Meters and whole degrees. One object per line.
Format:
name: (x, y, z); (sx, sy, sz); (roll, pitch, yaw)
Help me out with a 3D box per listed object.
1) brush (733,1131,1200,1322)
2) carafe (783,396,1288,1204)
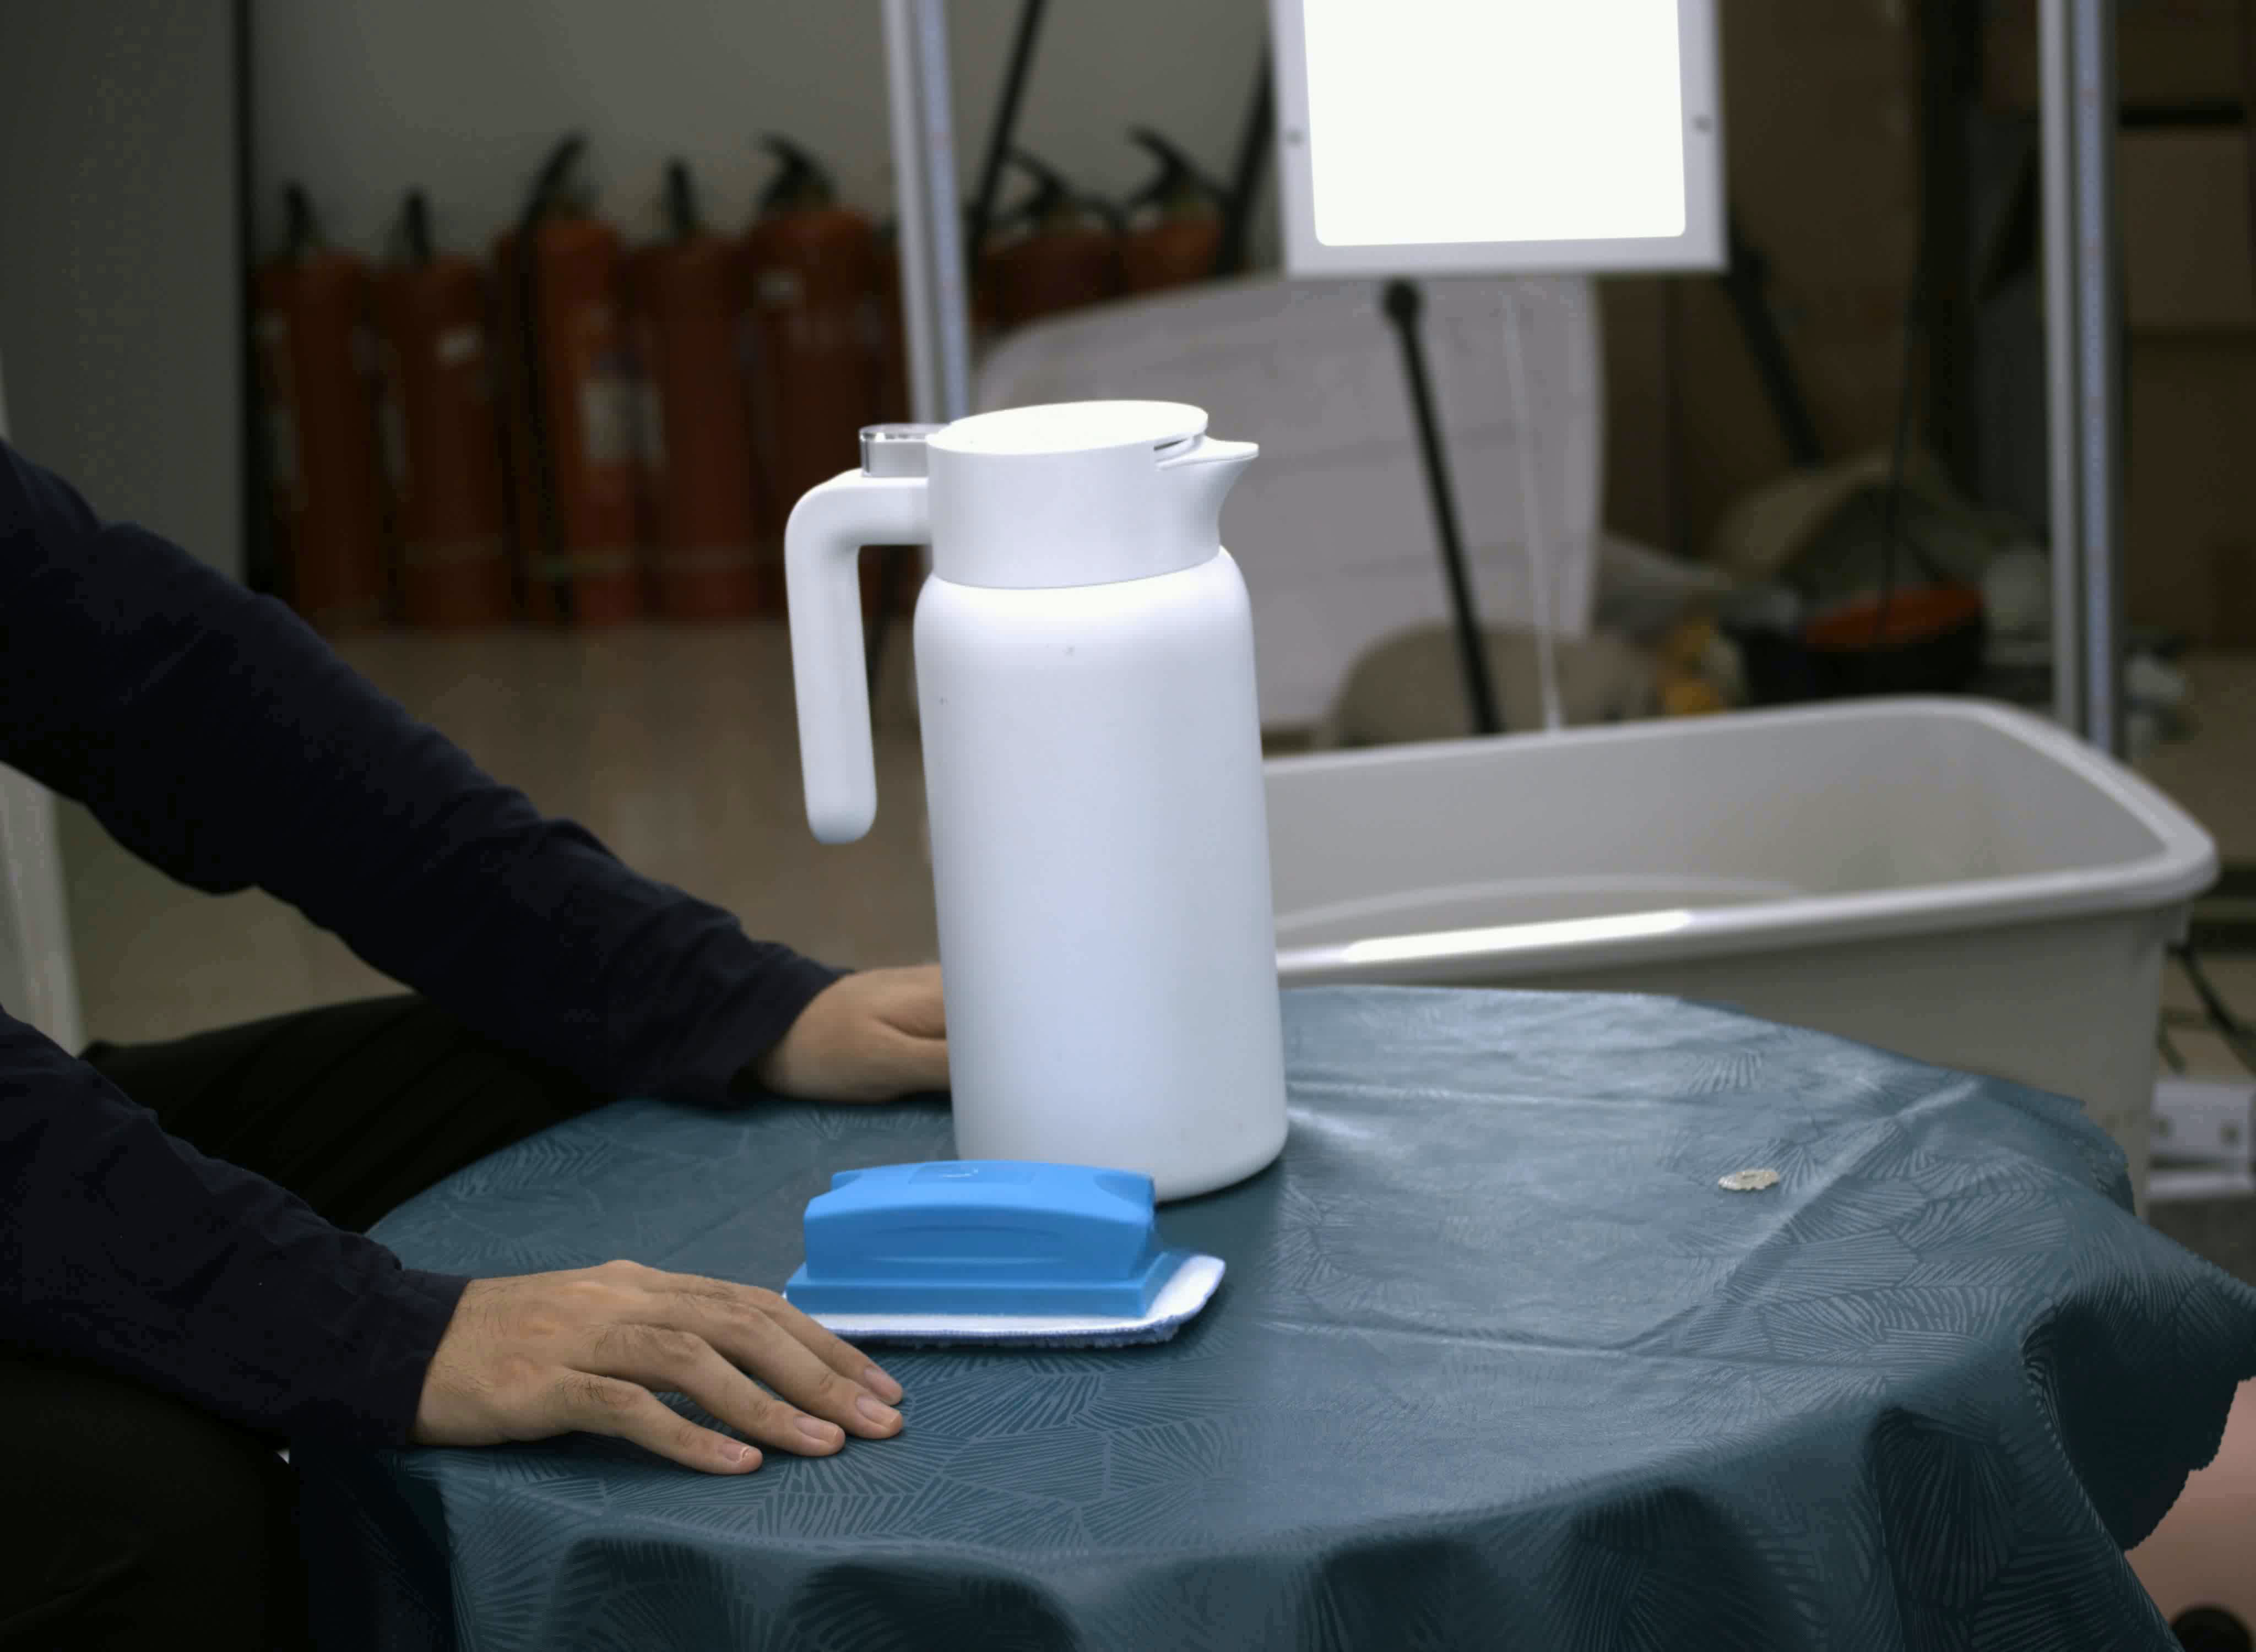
brush: (-0.051, 0.129, 1.775); (0.145, 0.056, 0.082); (3, 13, 18)
carafe: (-0.028, -0.009, 1.903); (0.175, 0.270, 0.122); (-1, 16, 20)
